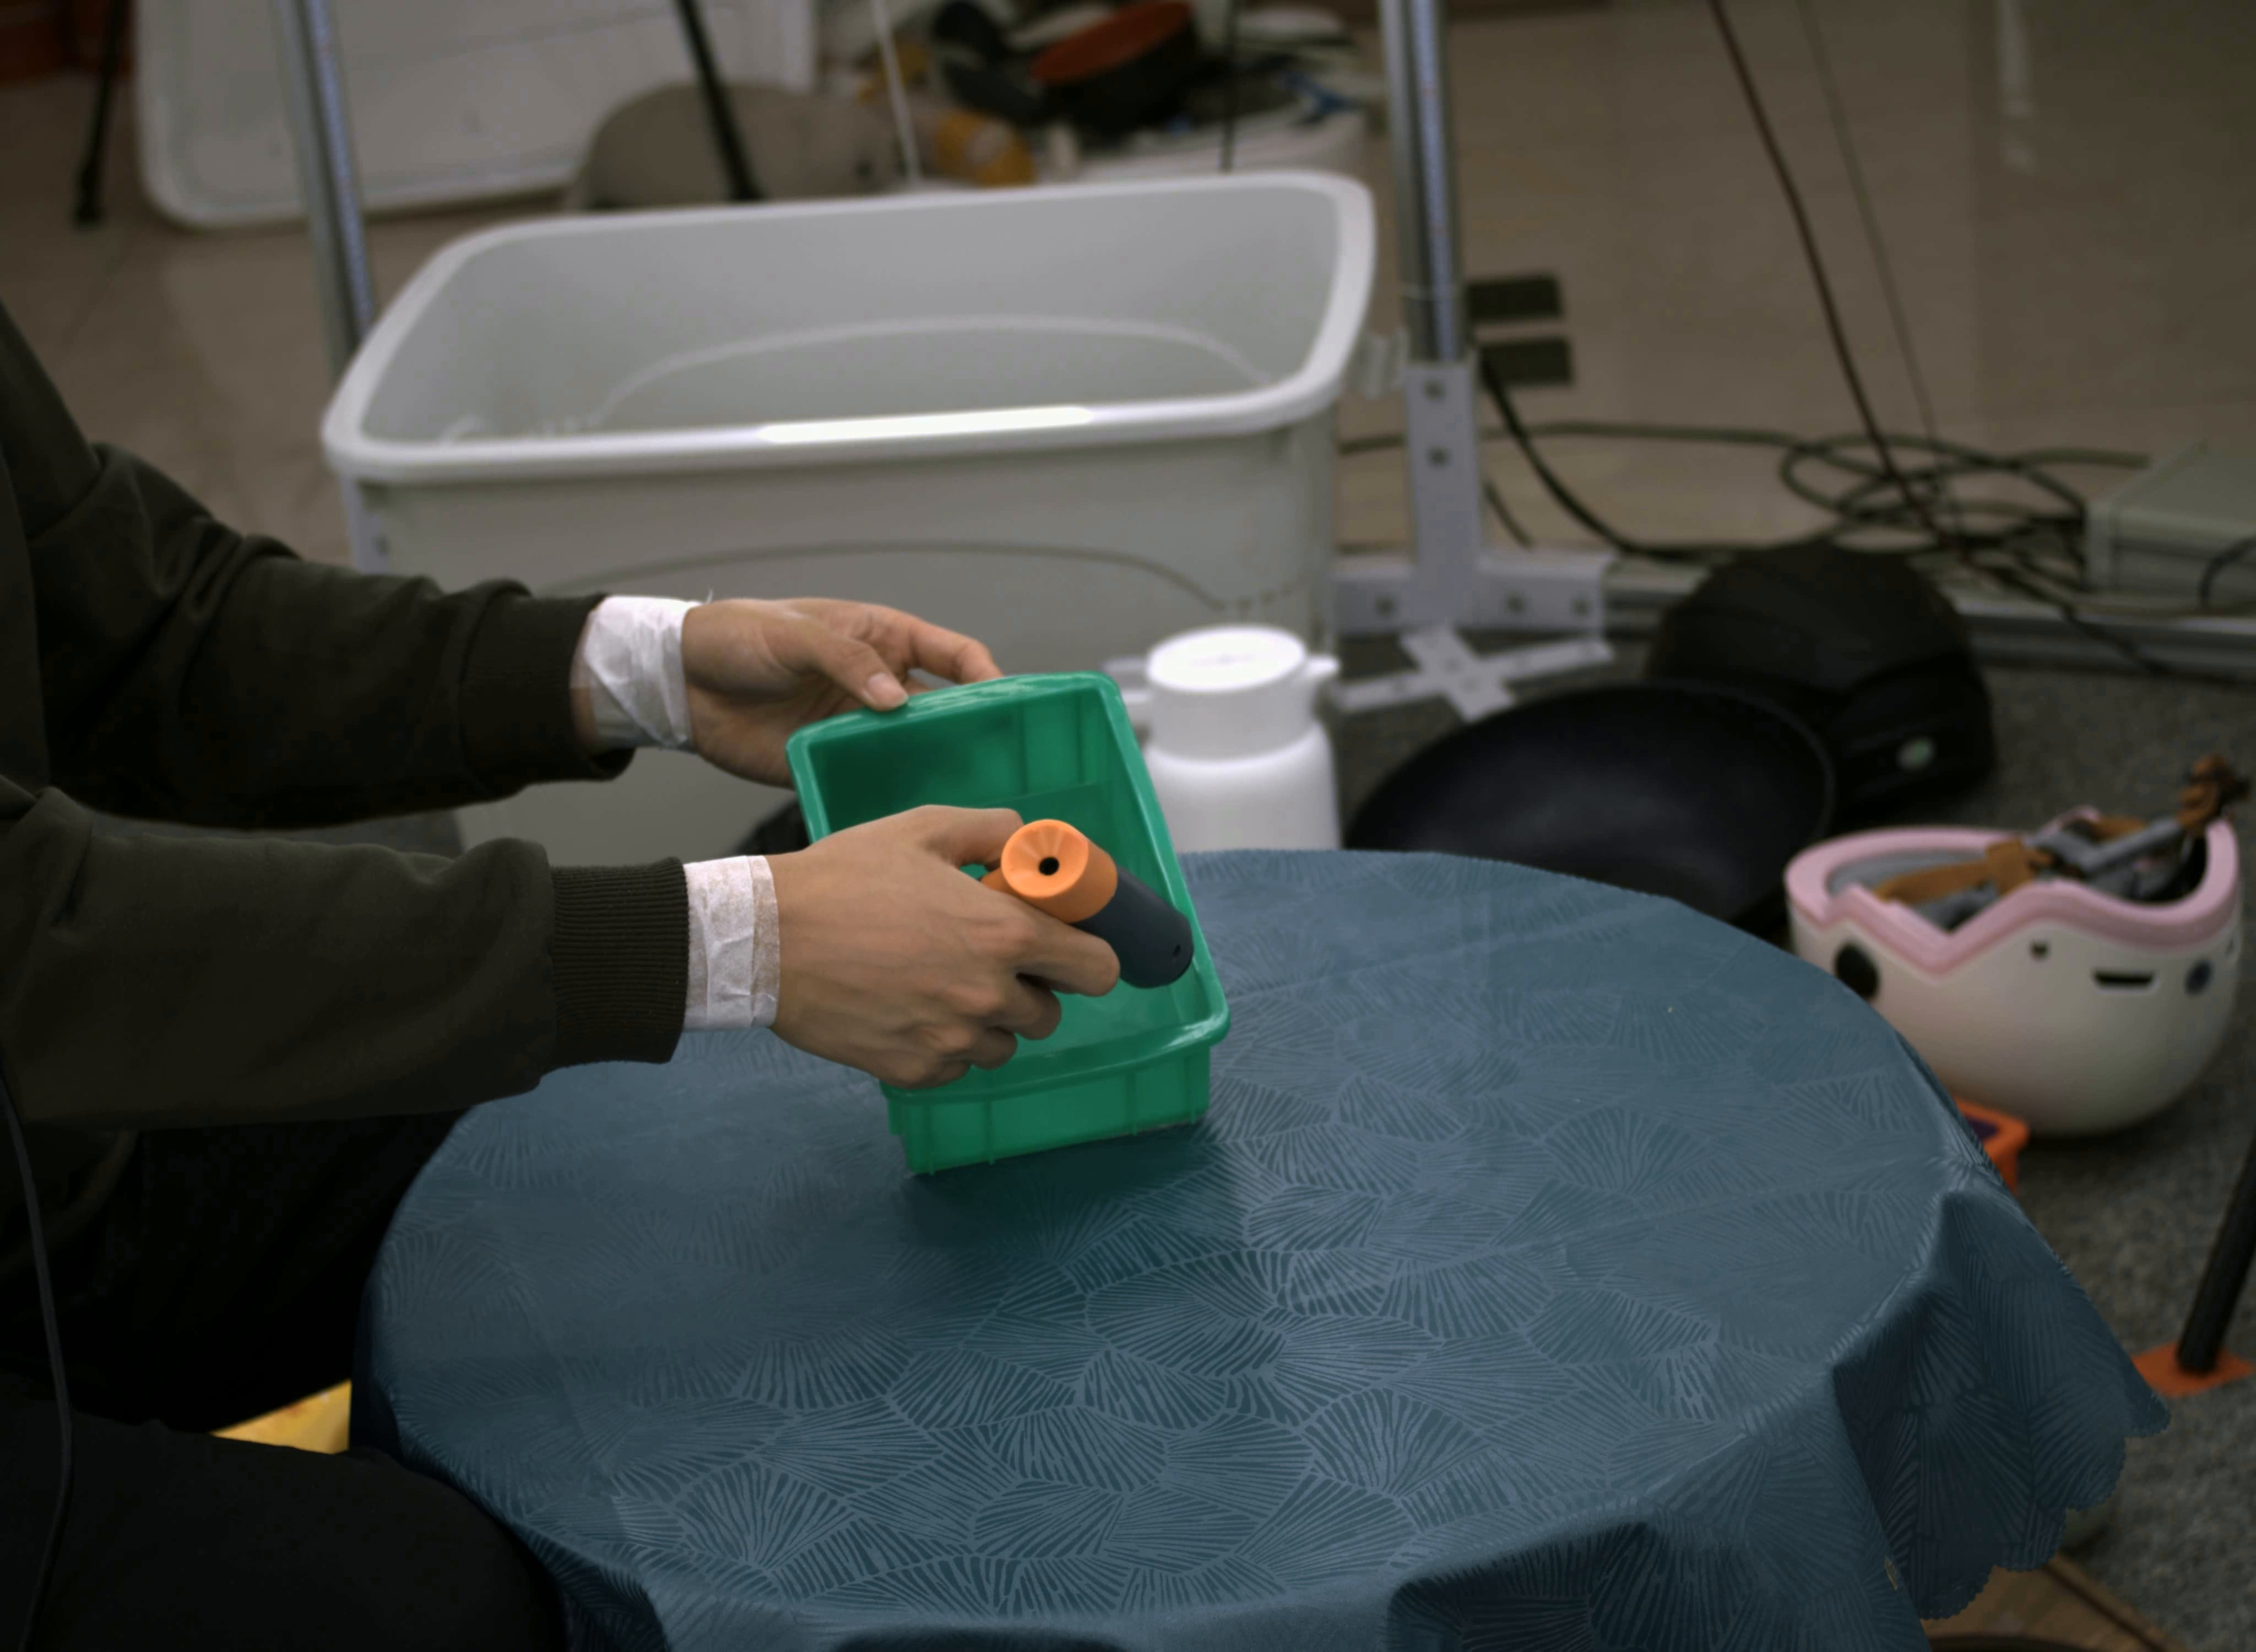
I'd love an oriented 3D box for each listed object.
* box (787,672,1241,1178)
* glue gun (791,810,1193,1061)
[{"bbox_3d":[-0.046,0.041,2.220,0.138,0.066,0.207,-13,51,-9],"label":"box"},{"bbox_3d":[-0.049,0.045,2.121,0.139,0.120,0.040,-15,57,2],"label":"glue gun"}]
